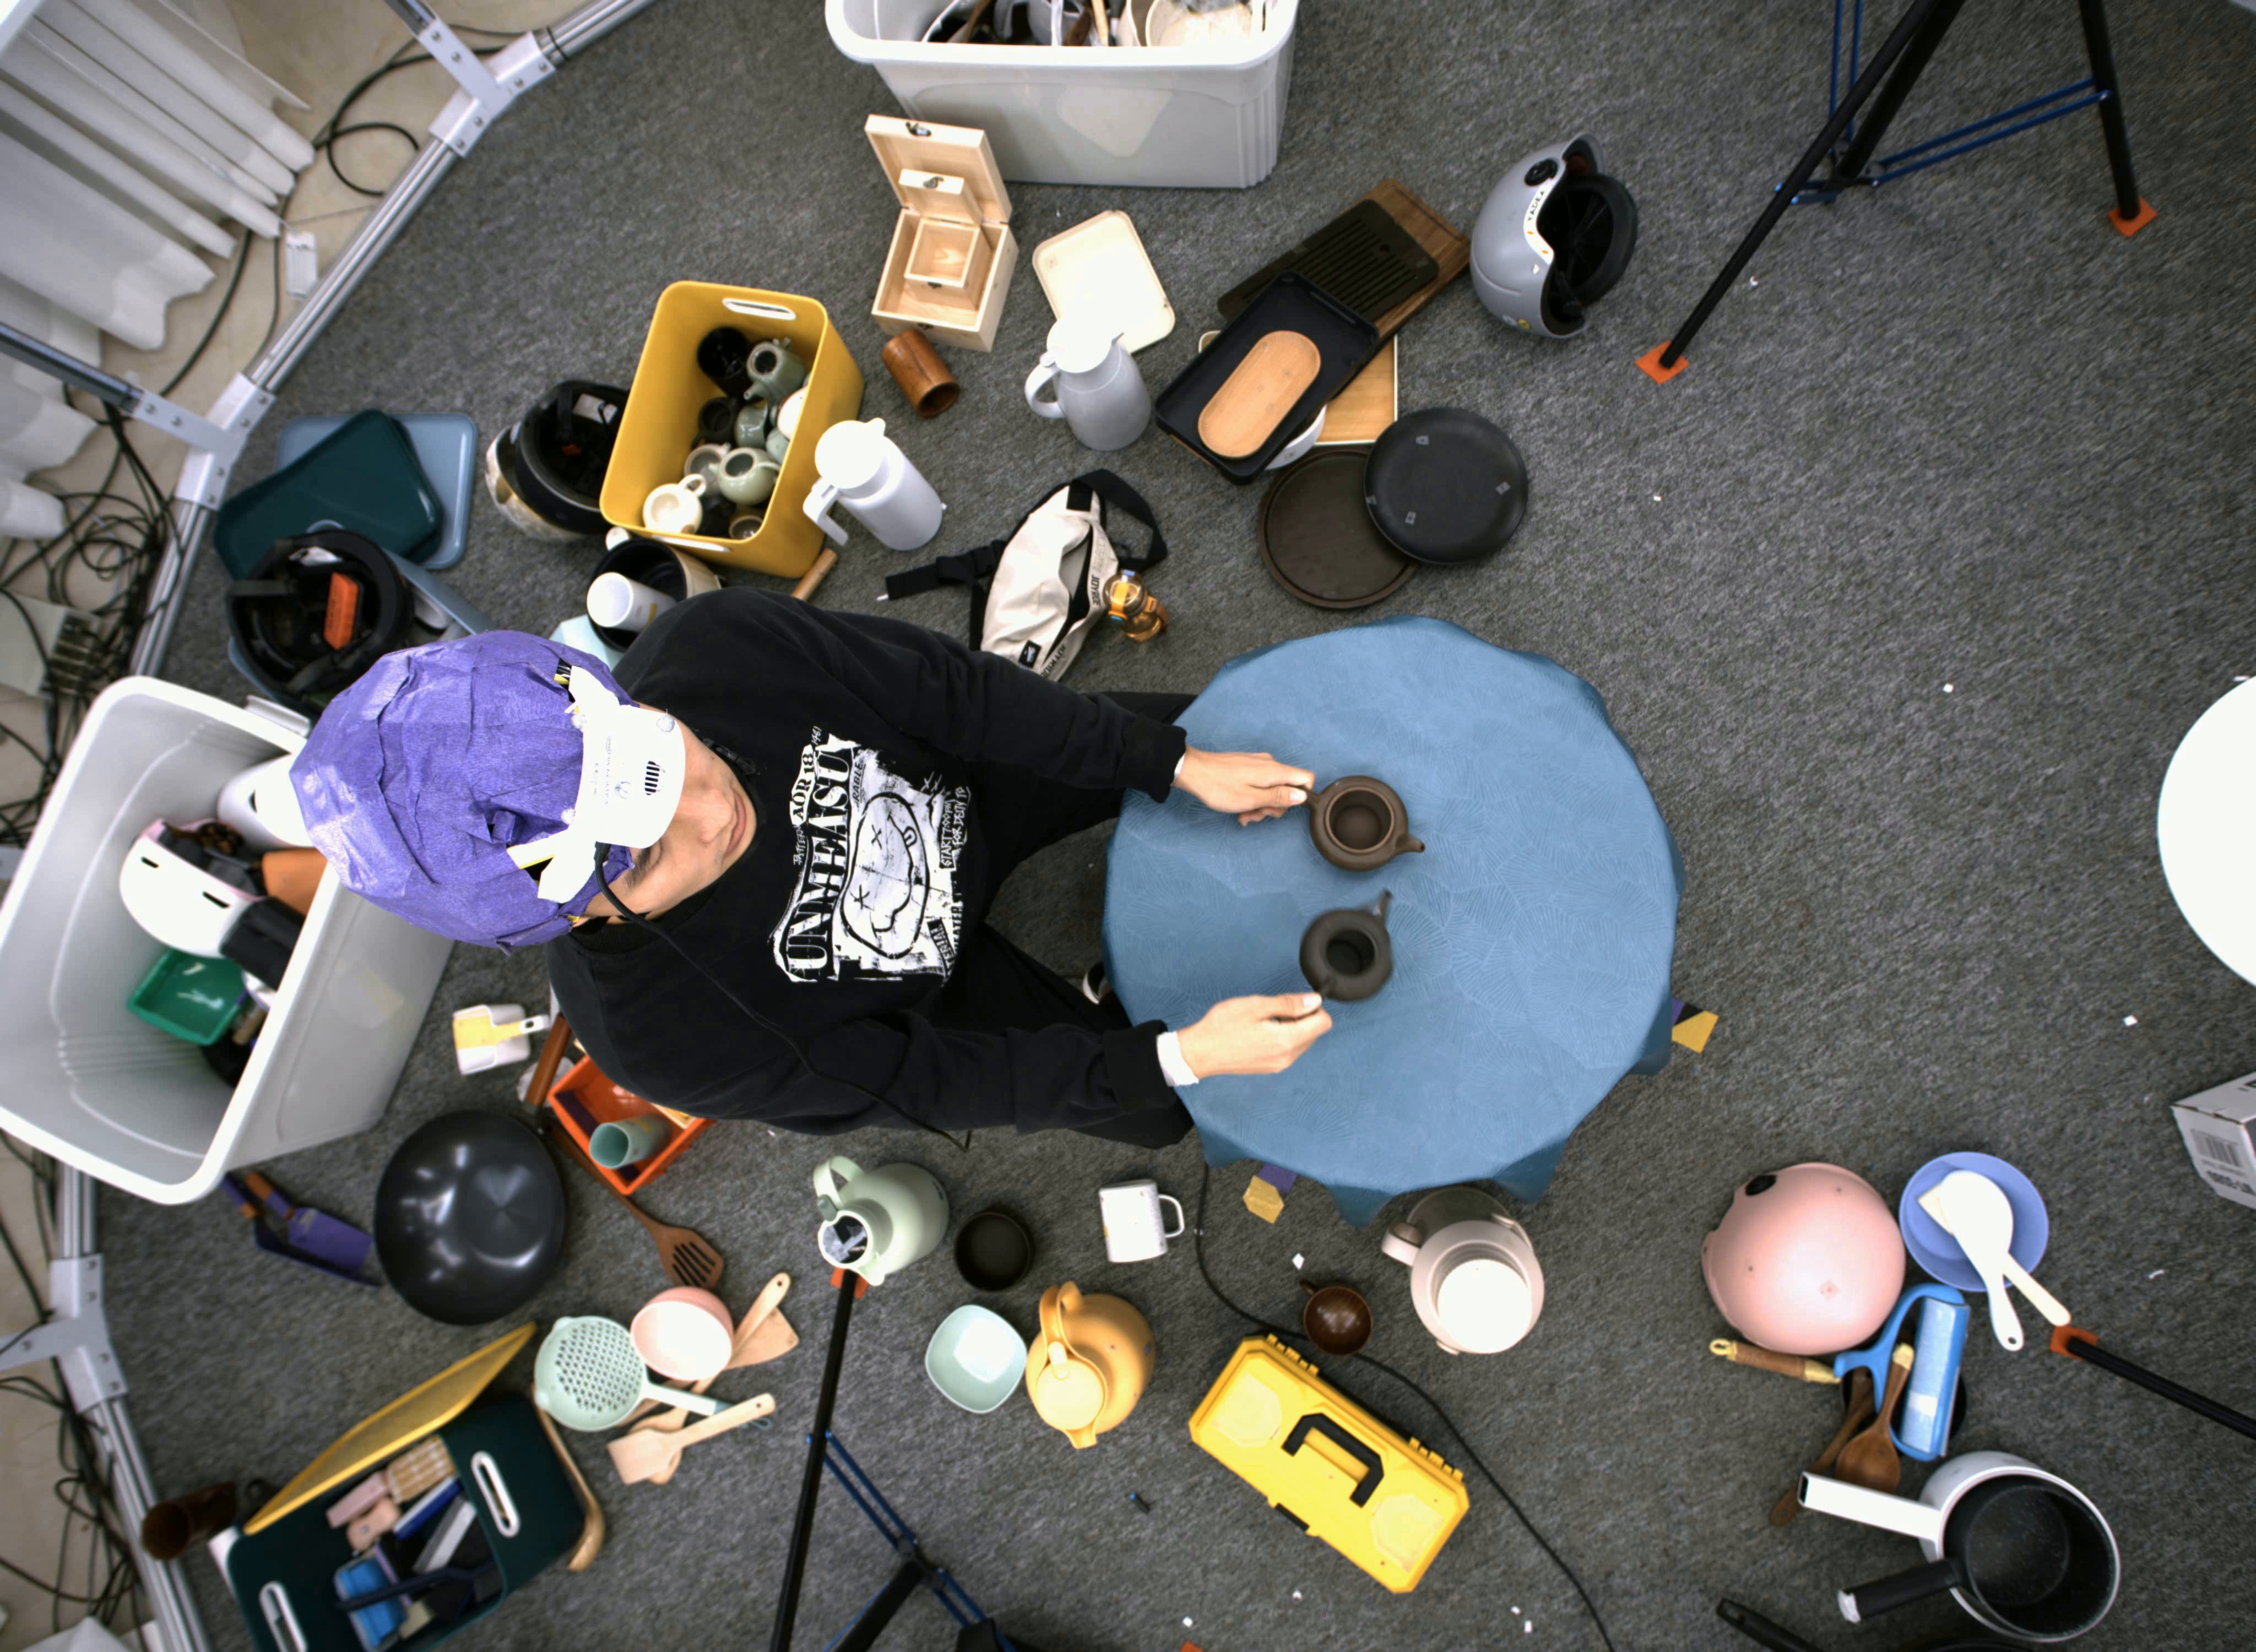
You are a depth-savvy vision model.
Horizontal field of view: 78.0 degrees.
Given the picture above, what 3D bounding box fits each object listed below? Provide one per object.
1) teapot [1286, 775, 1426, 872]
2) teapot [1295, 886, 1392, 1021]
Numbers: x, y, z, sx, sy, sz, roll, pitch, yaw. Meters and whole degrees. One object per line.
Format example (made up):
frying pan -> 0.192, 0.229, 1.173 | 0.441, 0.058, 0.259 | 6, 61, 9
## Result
teapot -> 0.236, -0.006, 1.440 | 0.153, 0.054, 0.102 | 21, 82, 8
teapot -> 0.206, 0.124, 1.337 | 0.092, 0.065, 0.152 | 34, 77, 9
